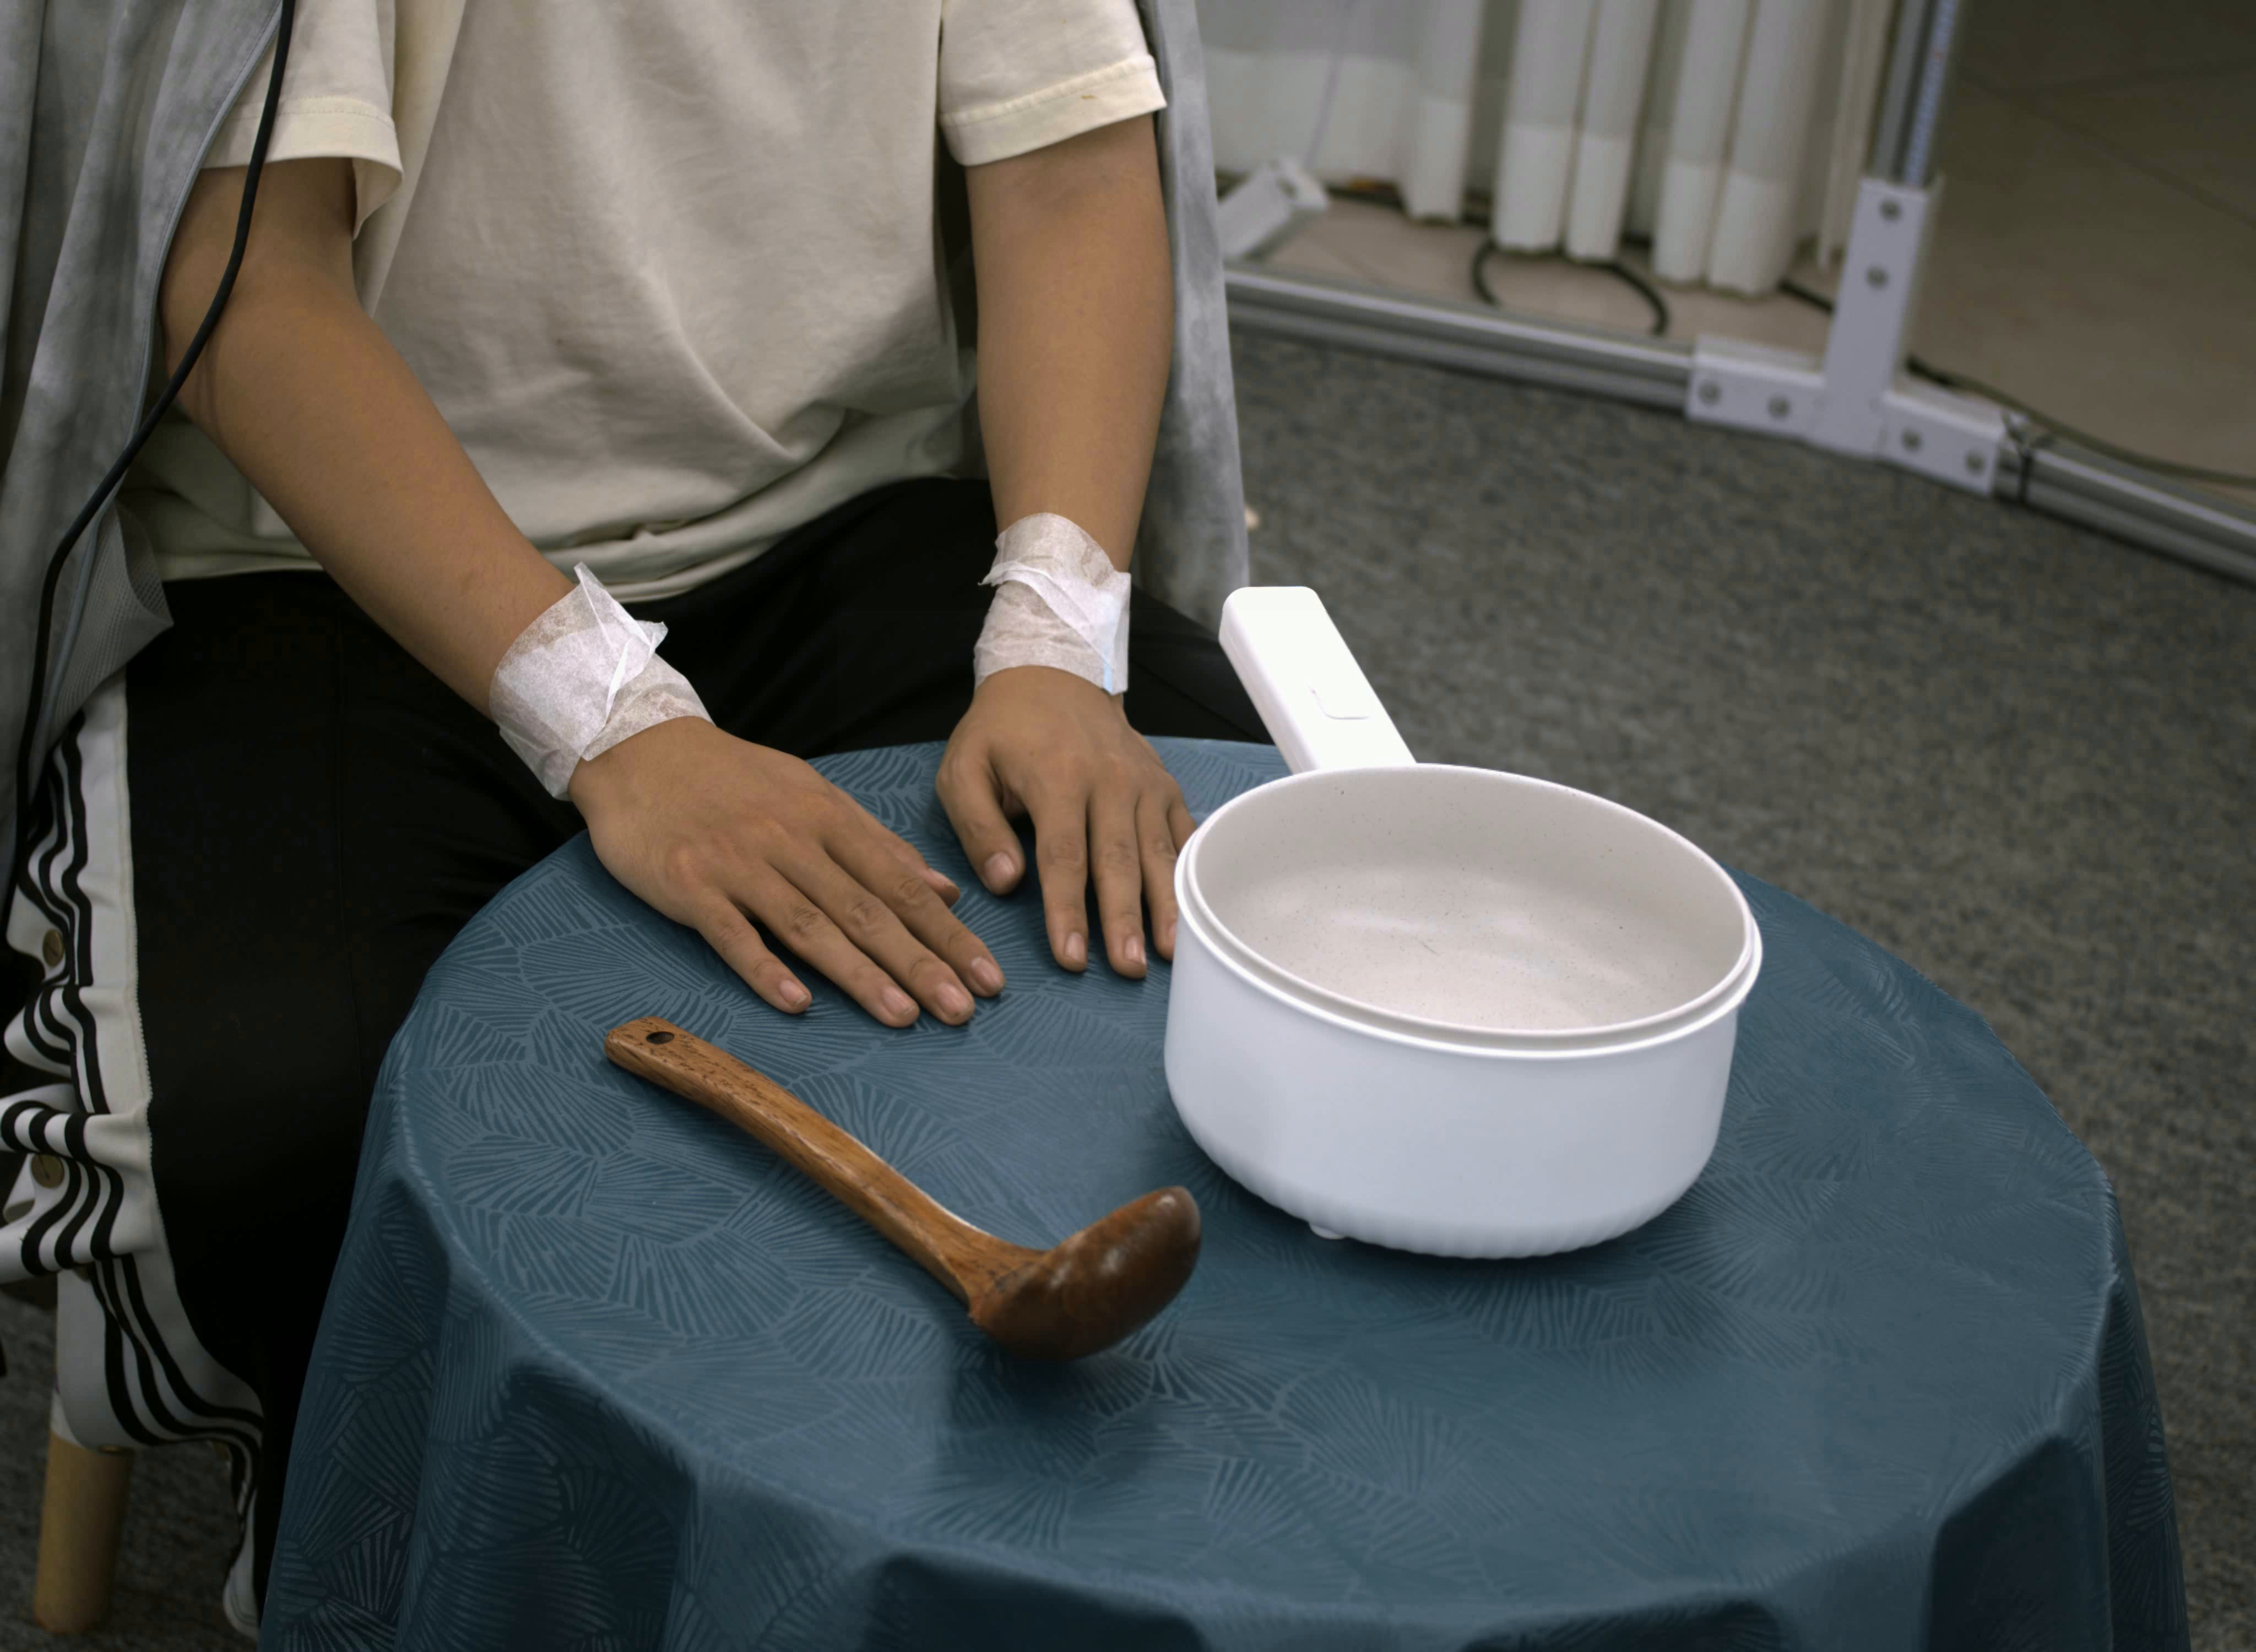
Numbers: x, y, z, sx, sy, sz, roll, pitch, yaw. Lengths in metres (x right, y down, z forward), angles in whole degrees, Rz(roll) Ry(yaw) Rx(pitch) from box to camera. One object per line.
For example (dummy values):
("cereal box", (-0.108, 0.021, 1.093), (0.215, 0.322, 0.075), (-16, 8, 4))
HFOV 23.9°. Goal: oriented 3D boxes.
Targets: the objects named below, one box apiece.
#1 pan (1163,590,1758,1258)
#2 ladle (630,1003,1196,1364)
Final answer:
("pan", (0.093, 0.032, 1.898), (0.200, 0.102, 0.358), (-1, 27, -14))
("ladle", (-0.082, 0.098, 1.750), (0.081, 0.076, 0.276), (-16, 35, -36))
